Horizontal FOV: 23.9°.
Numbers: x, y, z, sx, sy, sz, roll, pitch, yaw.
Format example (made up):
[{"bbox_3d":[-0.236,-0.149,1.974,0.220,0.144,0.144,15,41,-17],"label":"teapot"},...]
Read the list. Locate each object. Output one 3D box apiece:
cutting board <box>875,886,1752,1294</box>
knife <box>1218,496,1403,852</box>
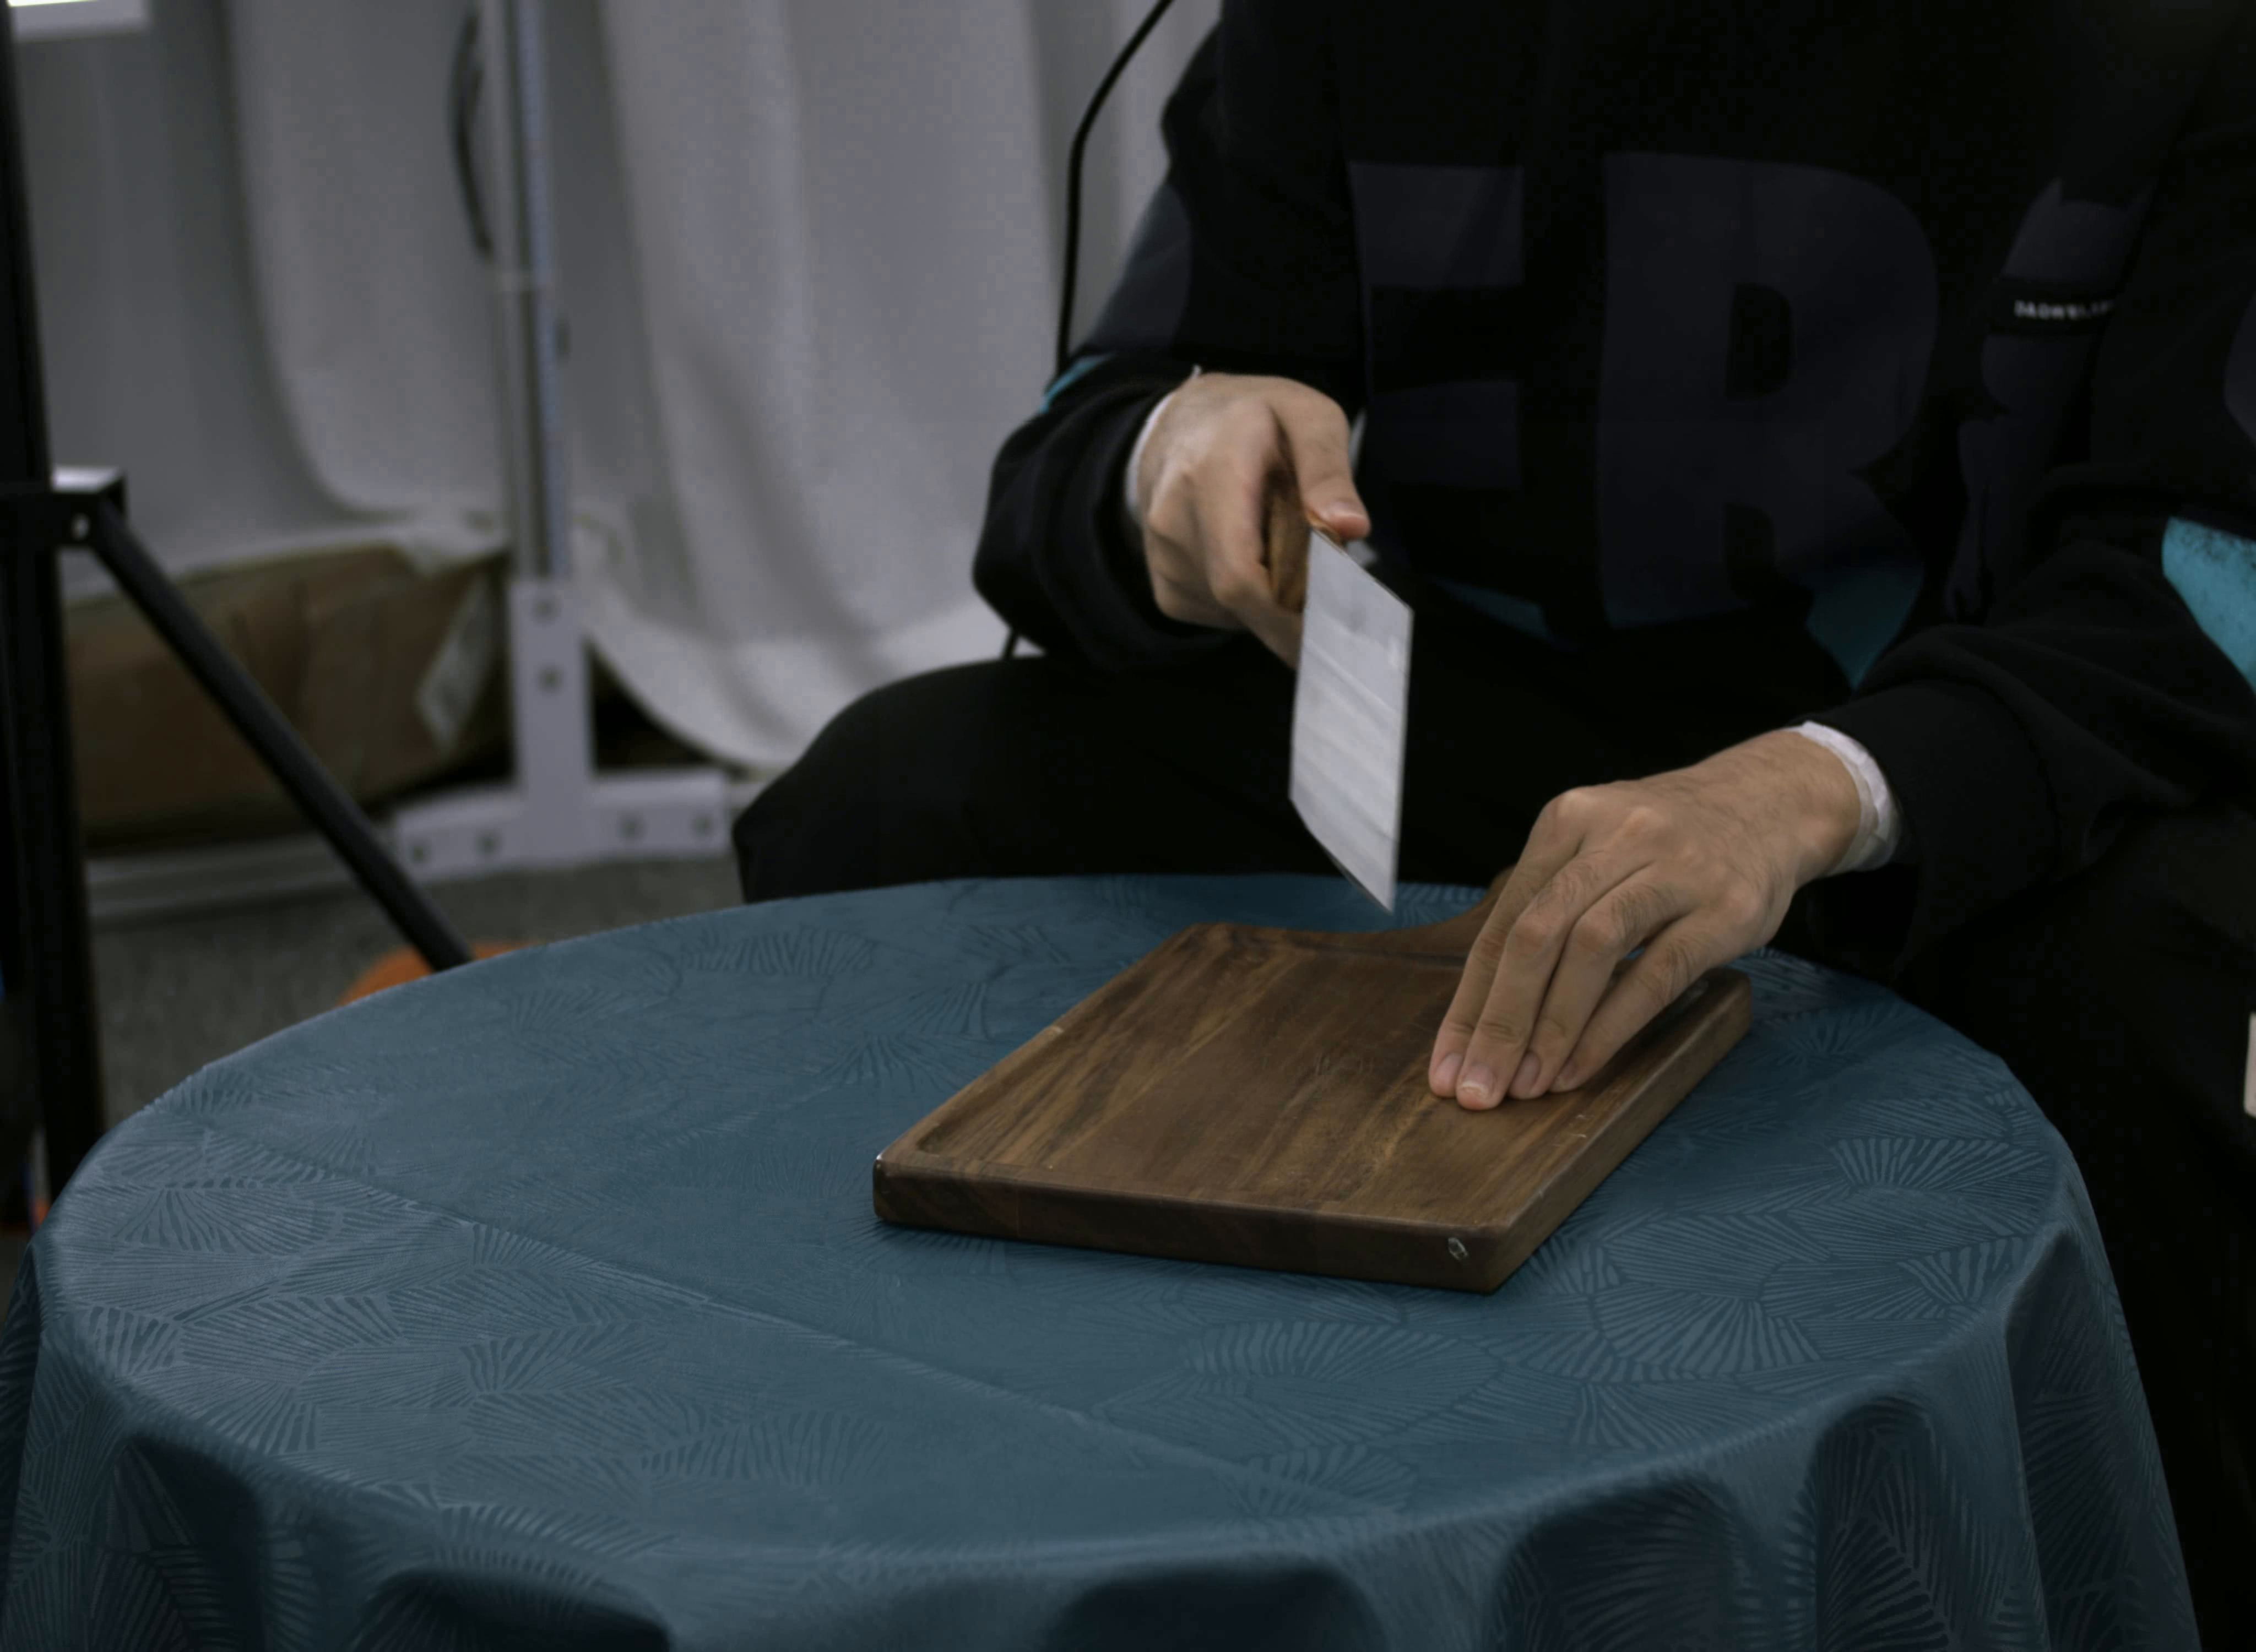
[{"bbox_3d":[0.081,0.072,1.647,0.204,0.023,0.347,6,16,23],"label":"cutting board"},{"bbox_3d":[0.057,-0.048,1.649,0.021,0.093,0.308,2,9,-7],"label":"knife"}]
